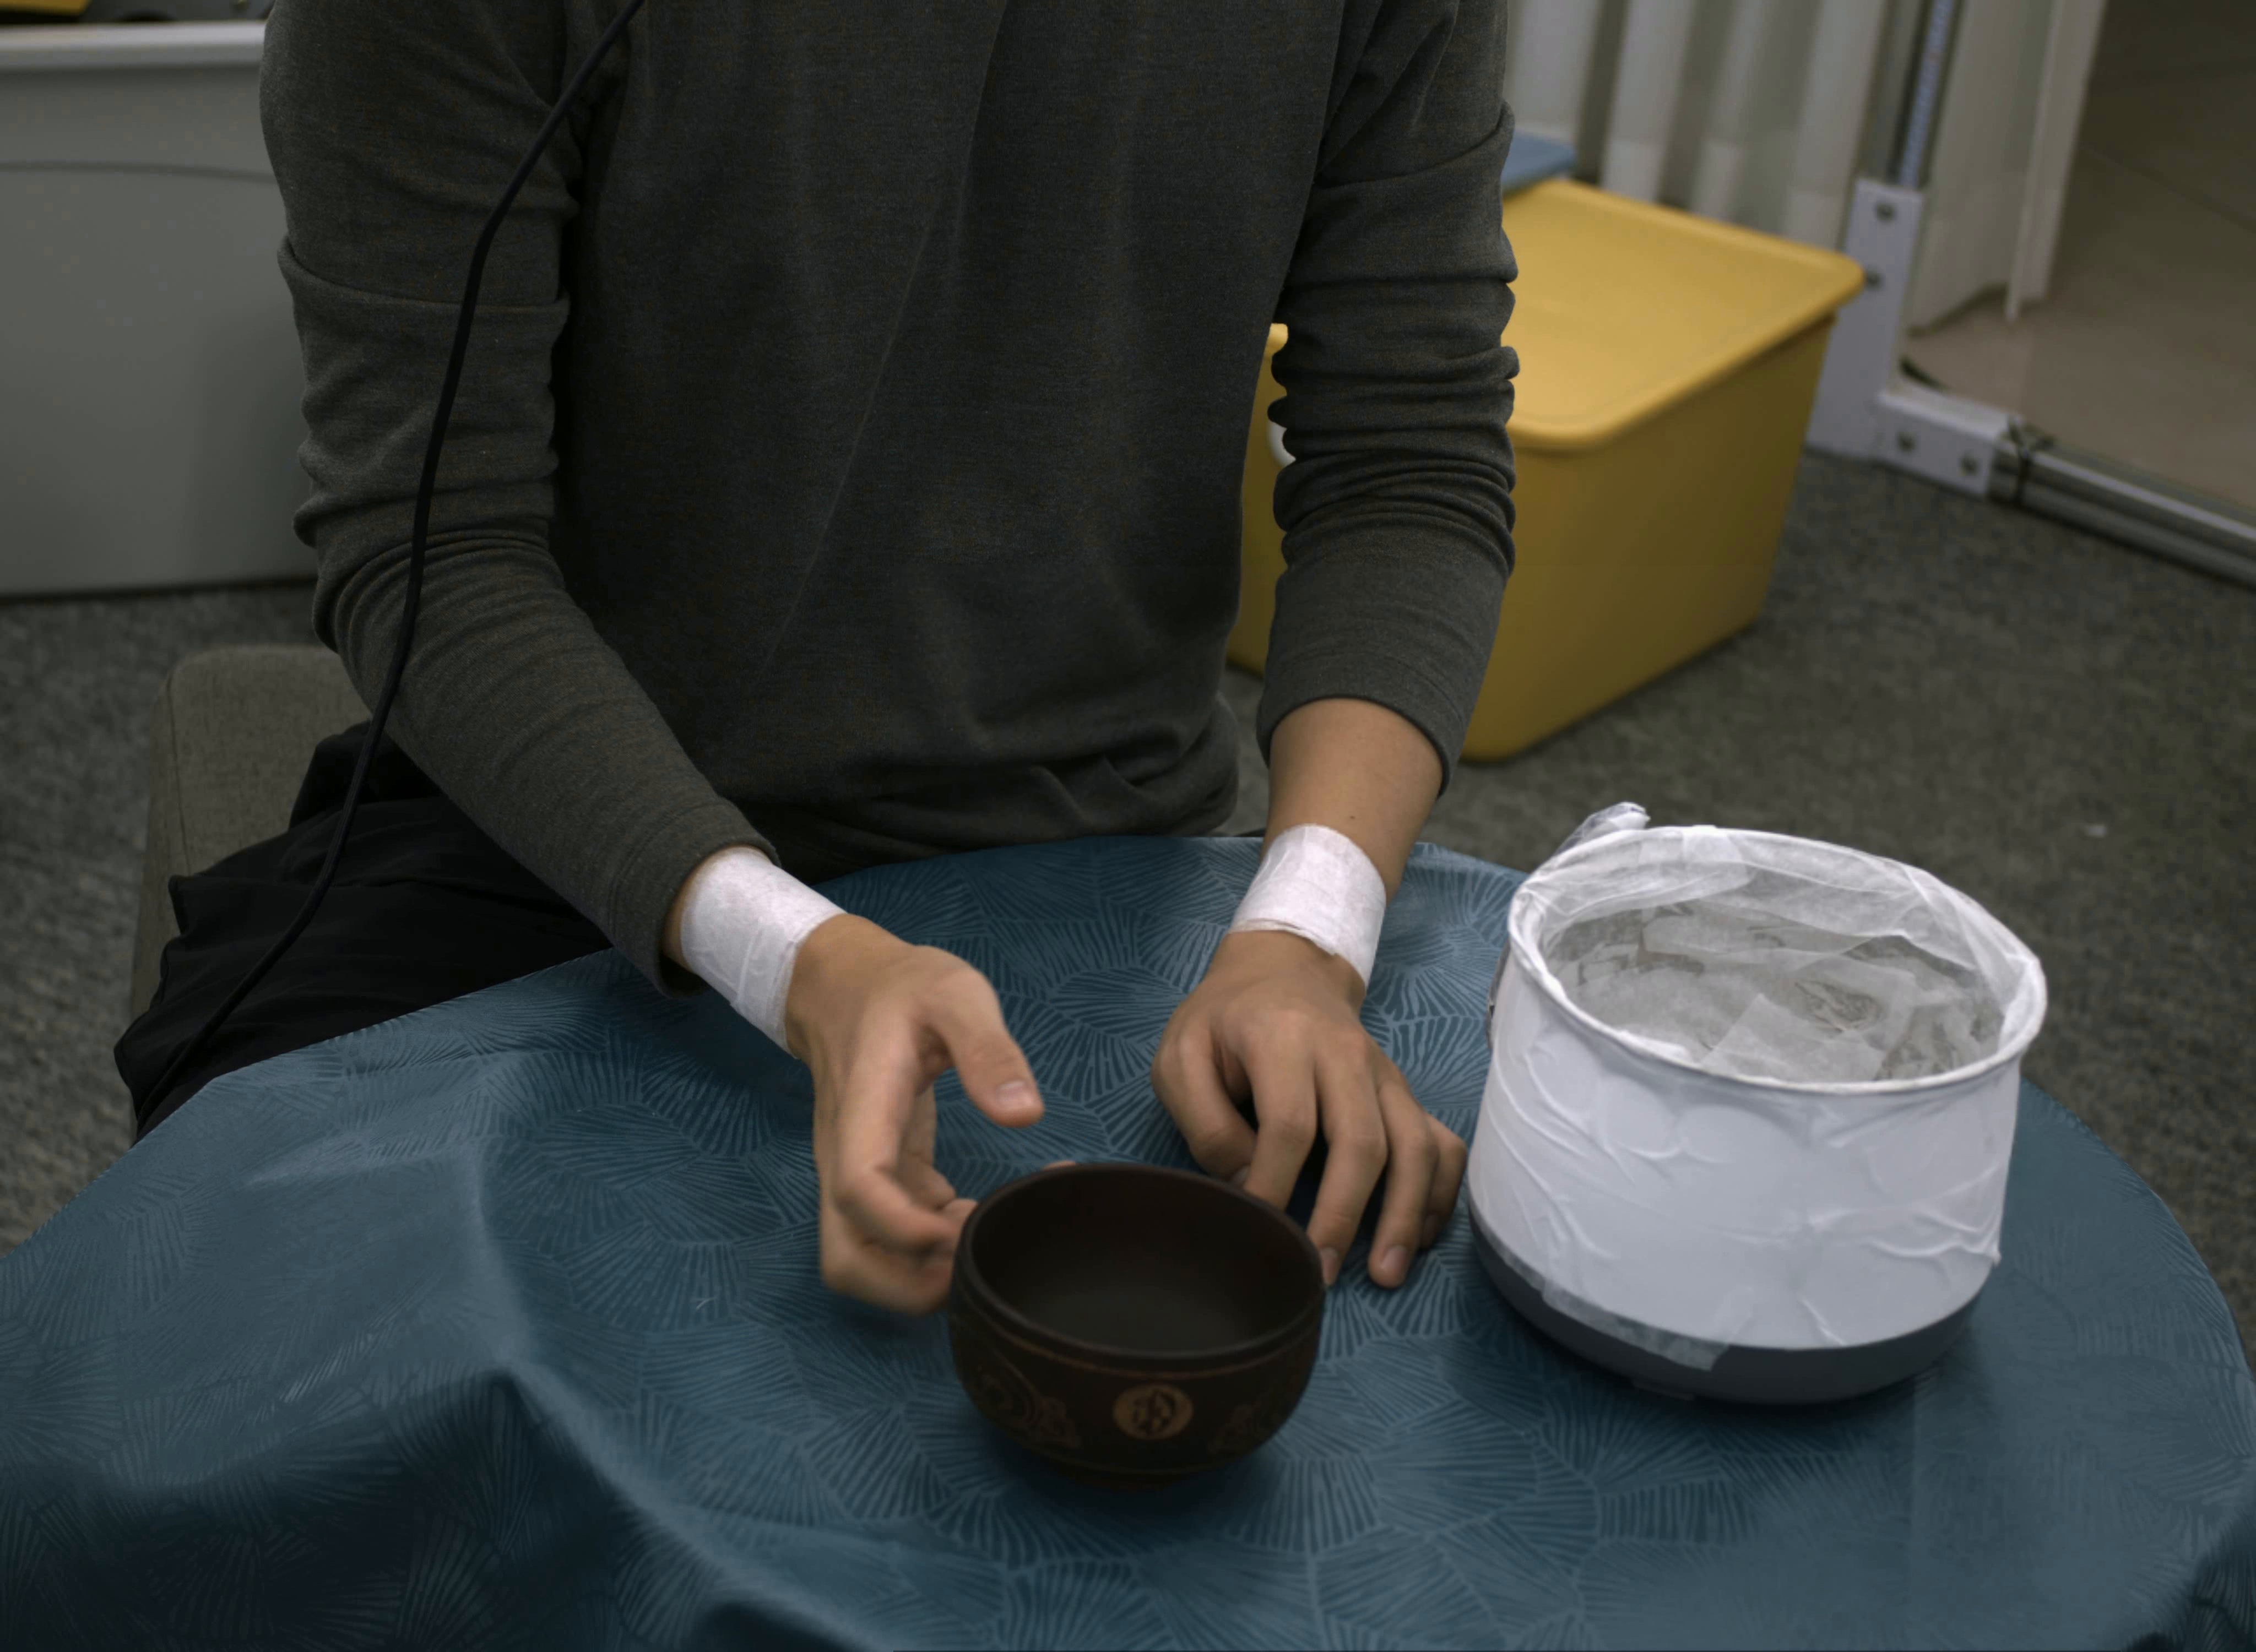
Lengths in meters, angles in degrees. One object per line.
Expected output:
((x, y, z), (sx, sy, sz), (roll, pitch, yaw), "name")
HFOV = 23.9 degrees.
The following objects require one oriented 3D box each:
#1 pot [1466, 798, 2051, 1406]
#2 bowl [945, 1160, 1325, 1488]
((0.192, 0.084, 1.775), (0.177, 0.136, 0.236), (-7, 29, -26), "pot")
((0.001, 0.162, 1.652), (0.117, 0.069, 0.119), (4, 25, -2), "bowl")
